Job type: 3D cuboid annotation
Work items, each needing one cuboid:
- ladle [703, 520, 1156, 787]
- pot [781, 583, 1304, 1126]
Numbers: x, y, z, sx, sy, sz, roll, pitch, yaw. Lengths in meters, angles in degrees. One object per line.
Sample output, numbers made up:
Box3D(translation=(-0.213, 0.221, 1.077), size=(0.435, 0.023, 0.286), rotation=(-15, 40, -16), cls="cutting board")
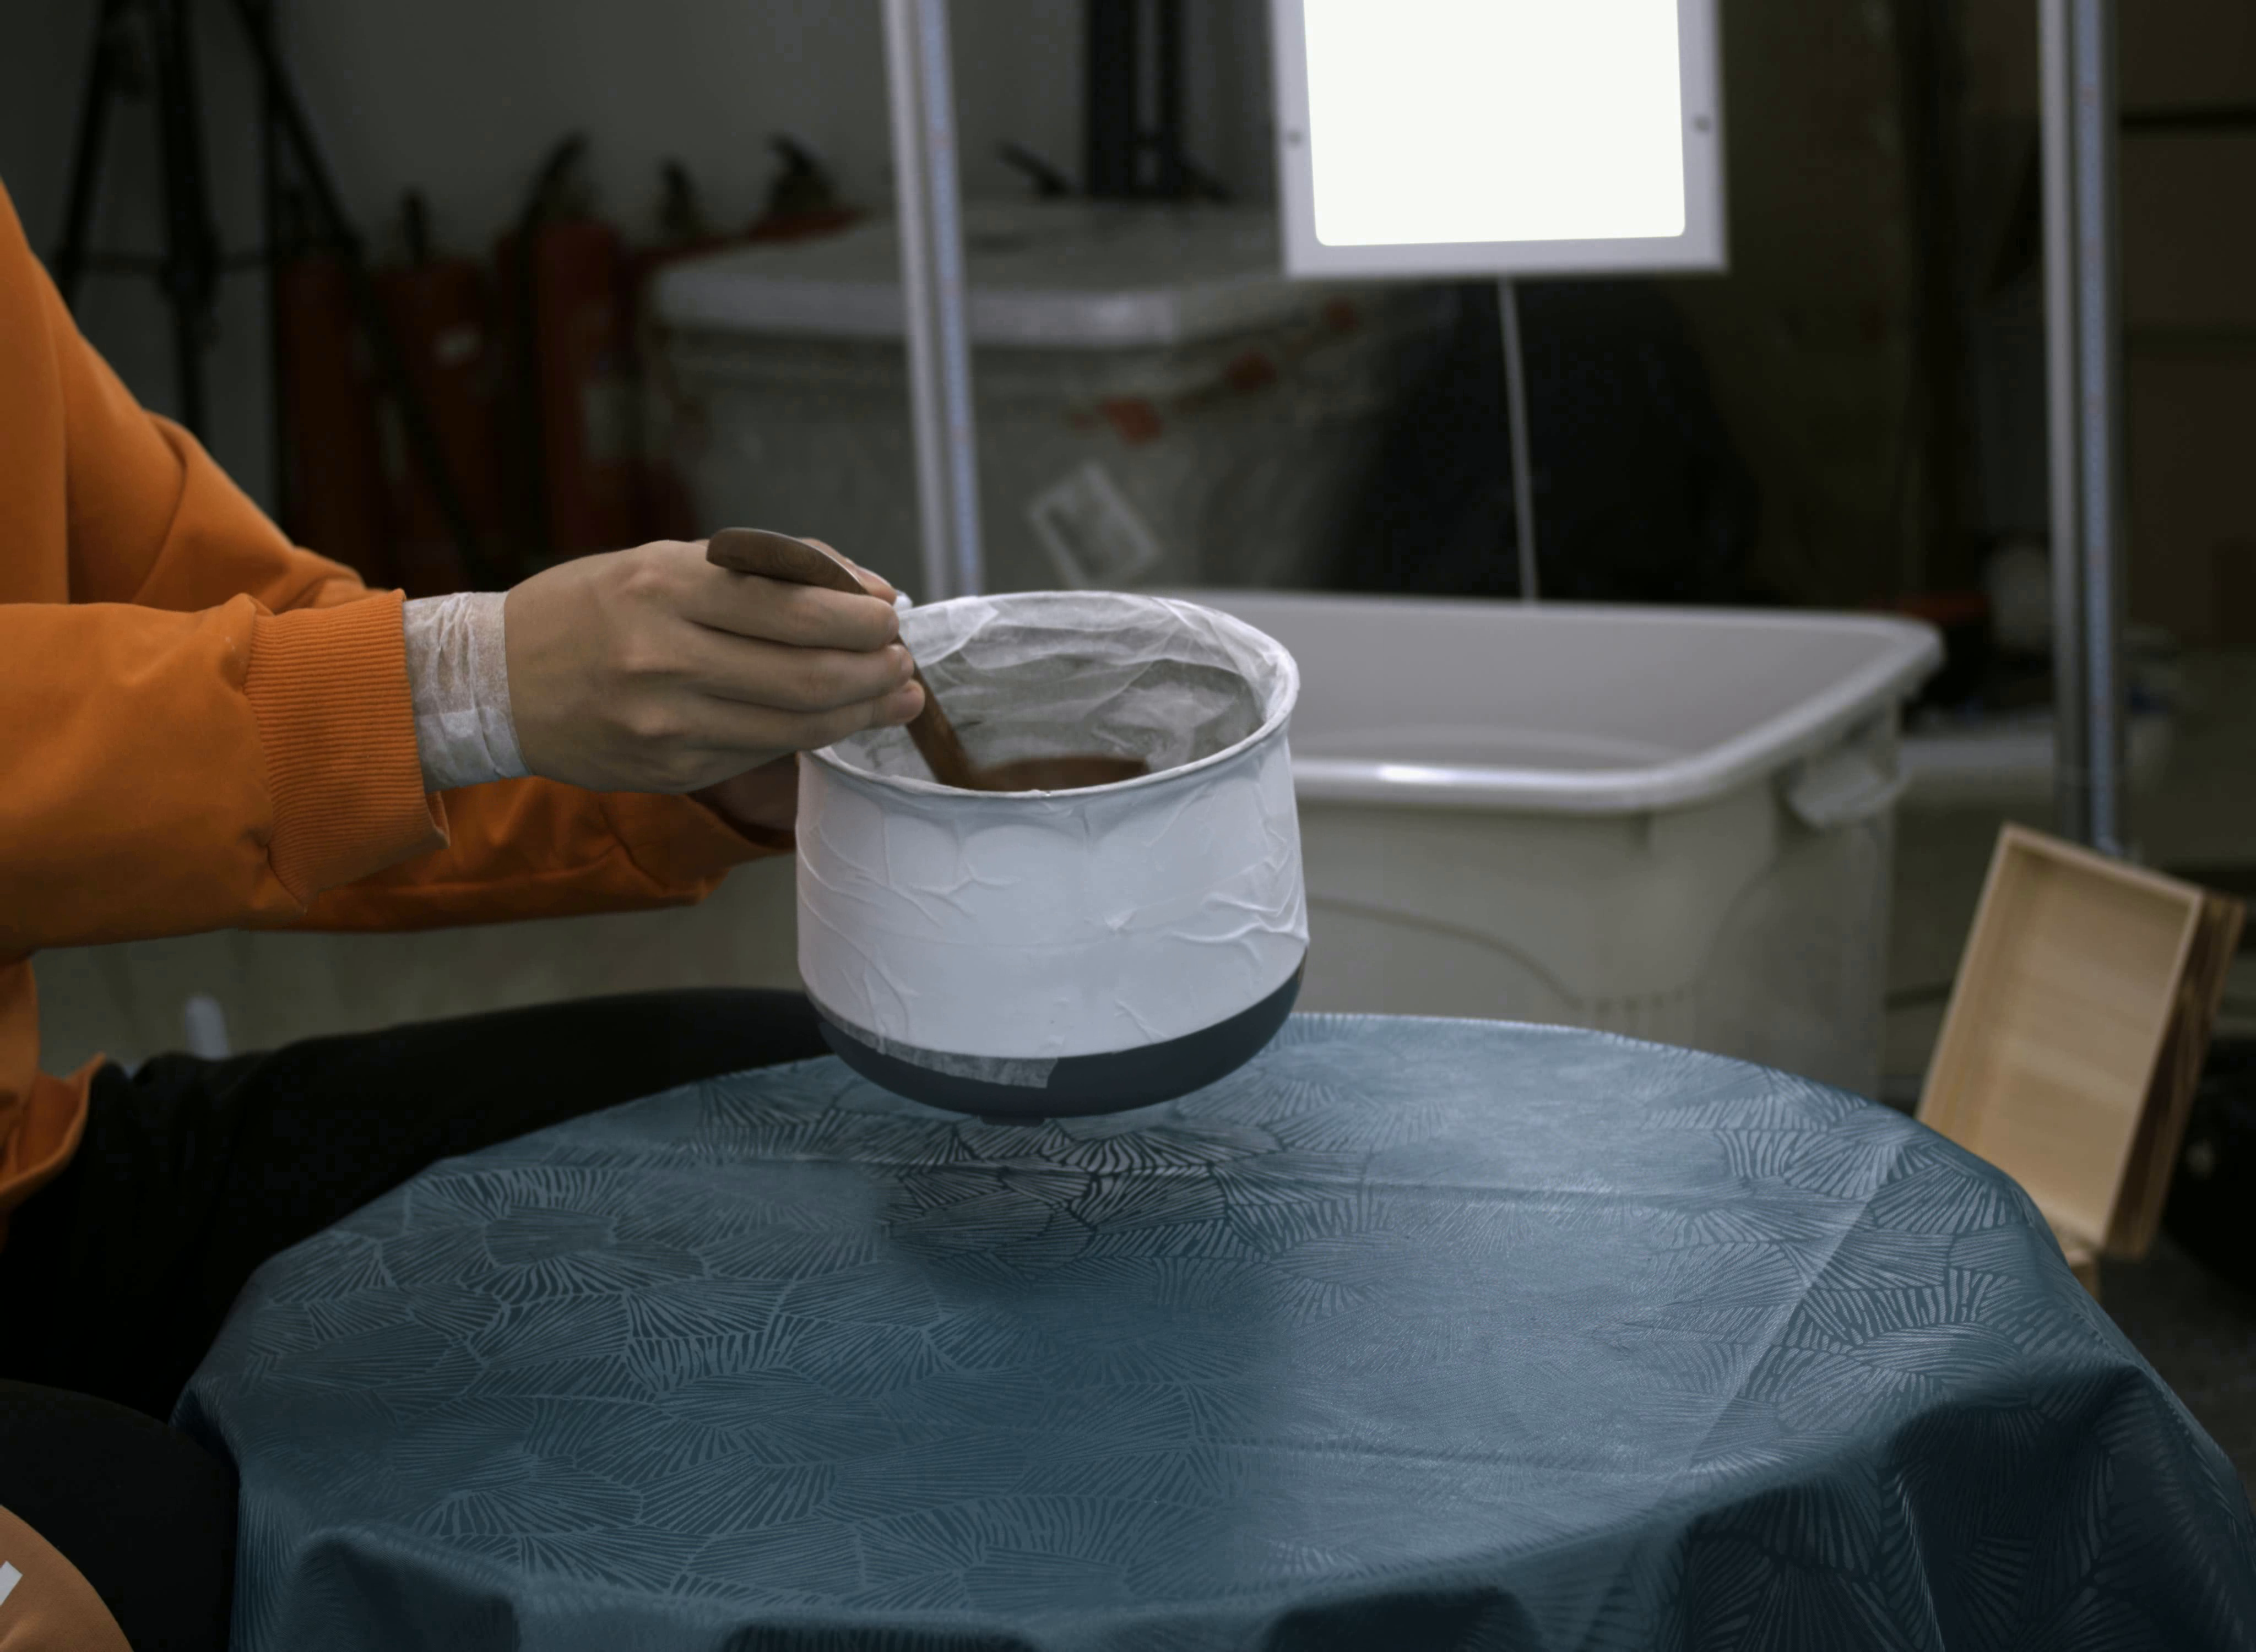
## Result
Box3D(translation=(-0.063, -0.052, 1.806), size=(0.078, 0.065, 0.257), rotation=(5, -26, 31), cls="ladle")
Box3D(translation=(-0.044, 0.001, 1.909), size=(0.175, 0.137, 0.238), rotation=(-17, 28, -29), cls="pot")
